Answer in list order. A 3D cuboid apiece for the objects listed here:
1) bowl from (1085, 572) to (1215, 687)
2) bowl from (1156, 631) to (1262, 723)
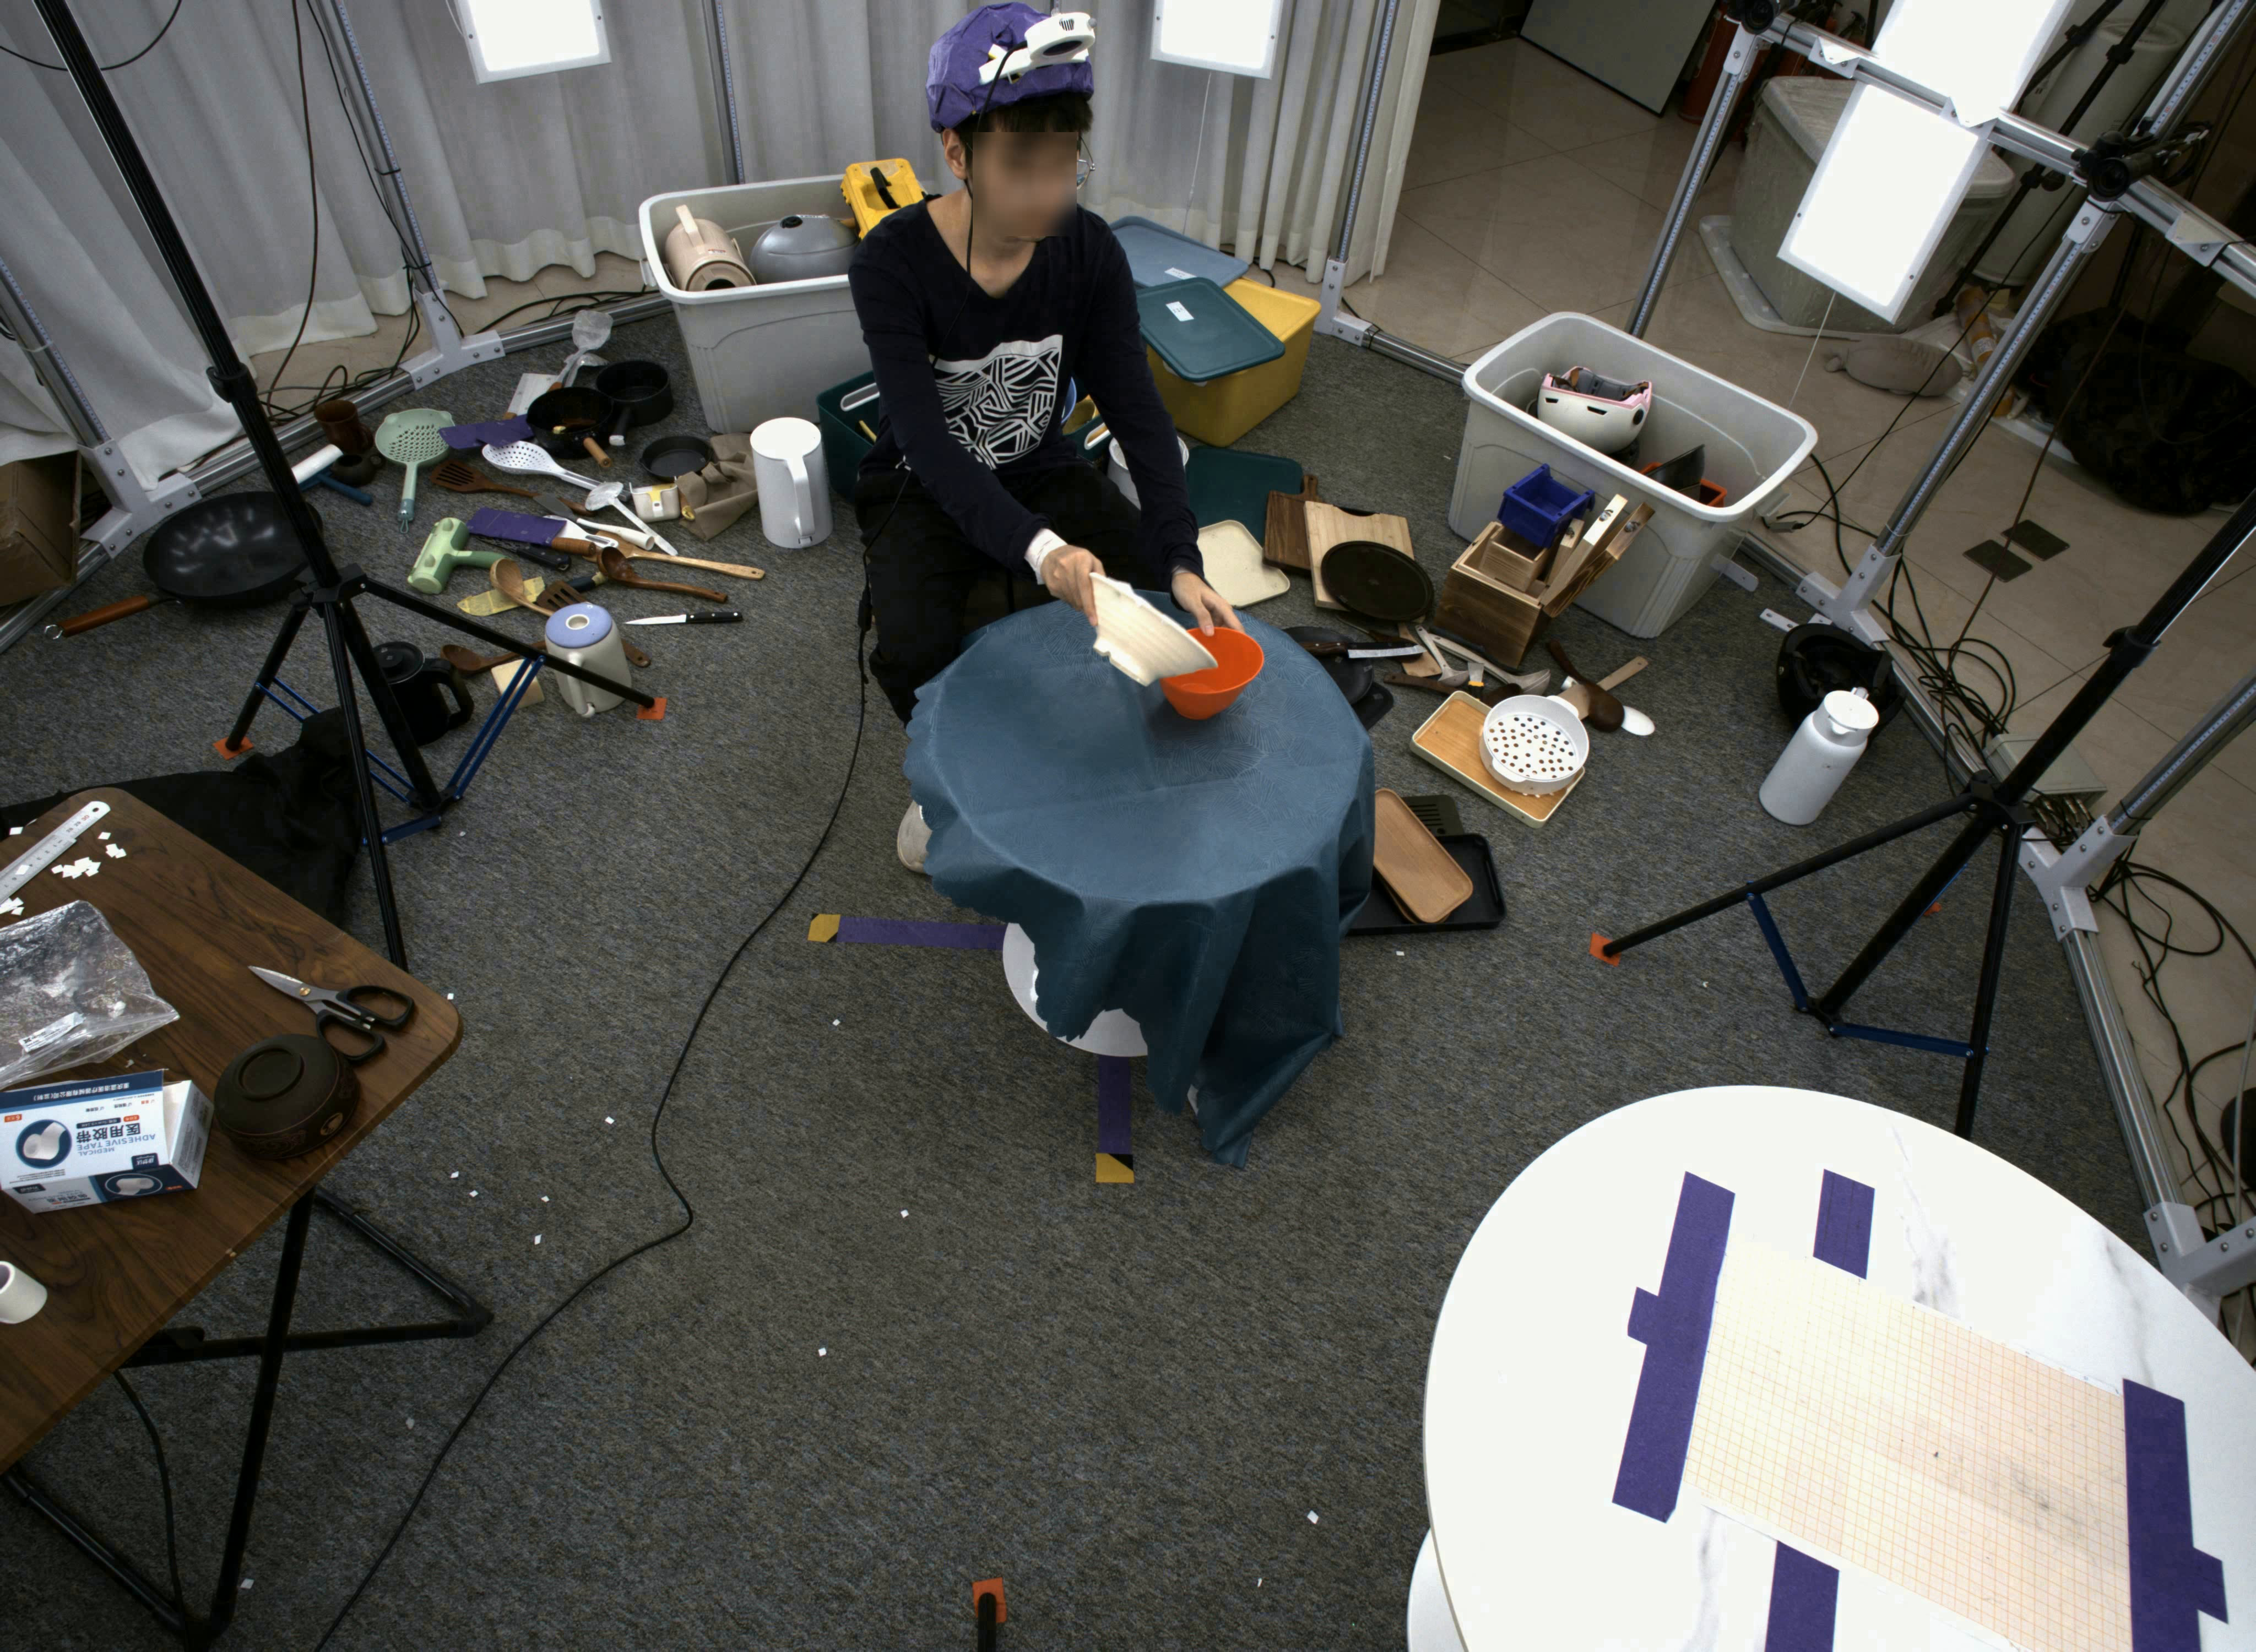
[{"bbox_3d":[0.008,-0.234,1.643,0.207,0.201,0.078,36,93,23],"label":"bowl"},{"bbox_3d":[0.108,-0.198,1.785,0.148,0.102,0.152,1,46,-1],"label":"bowl"}]
